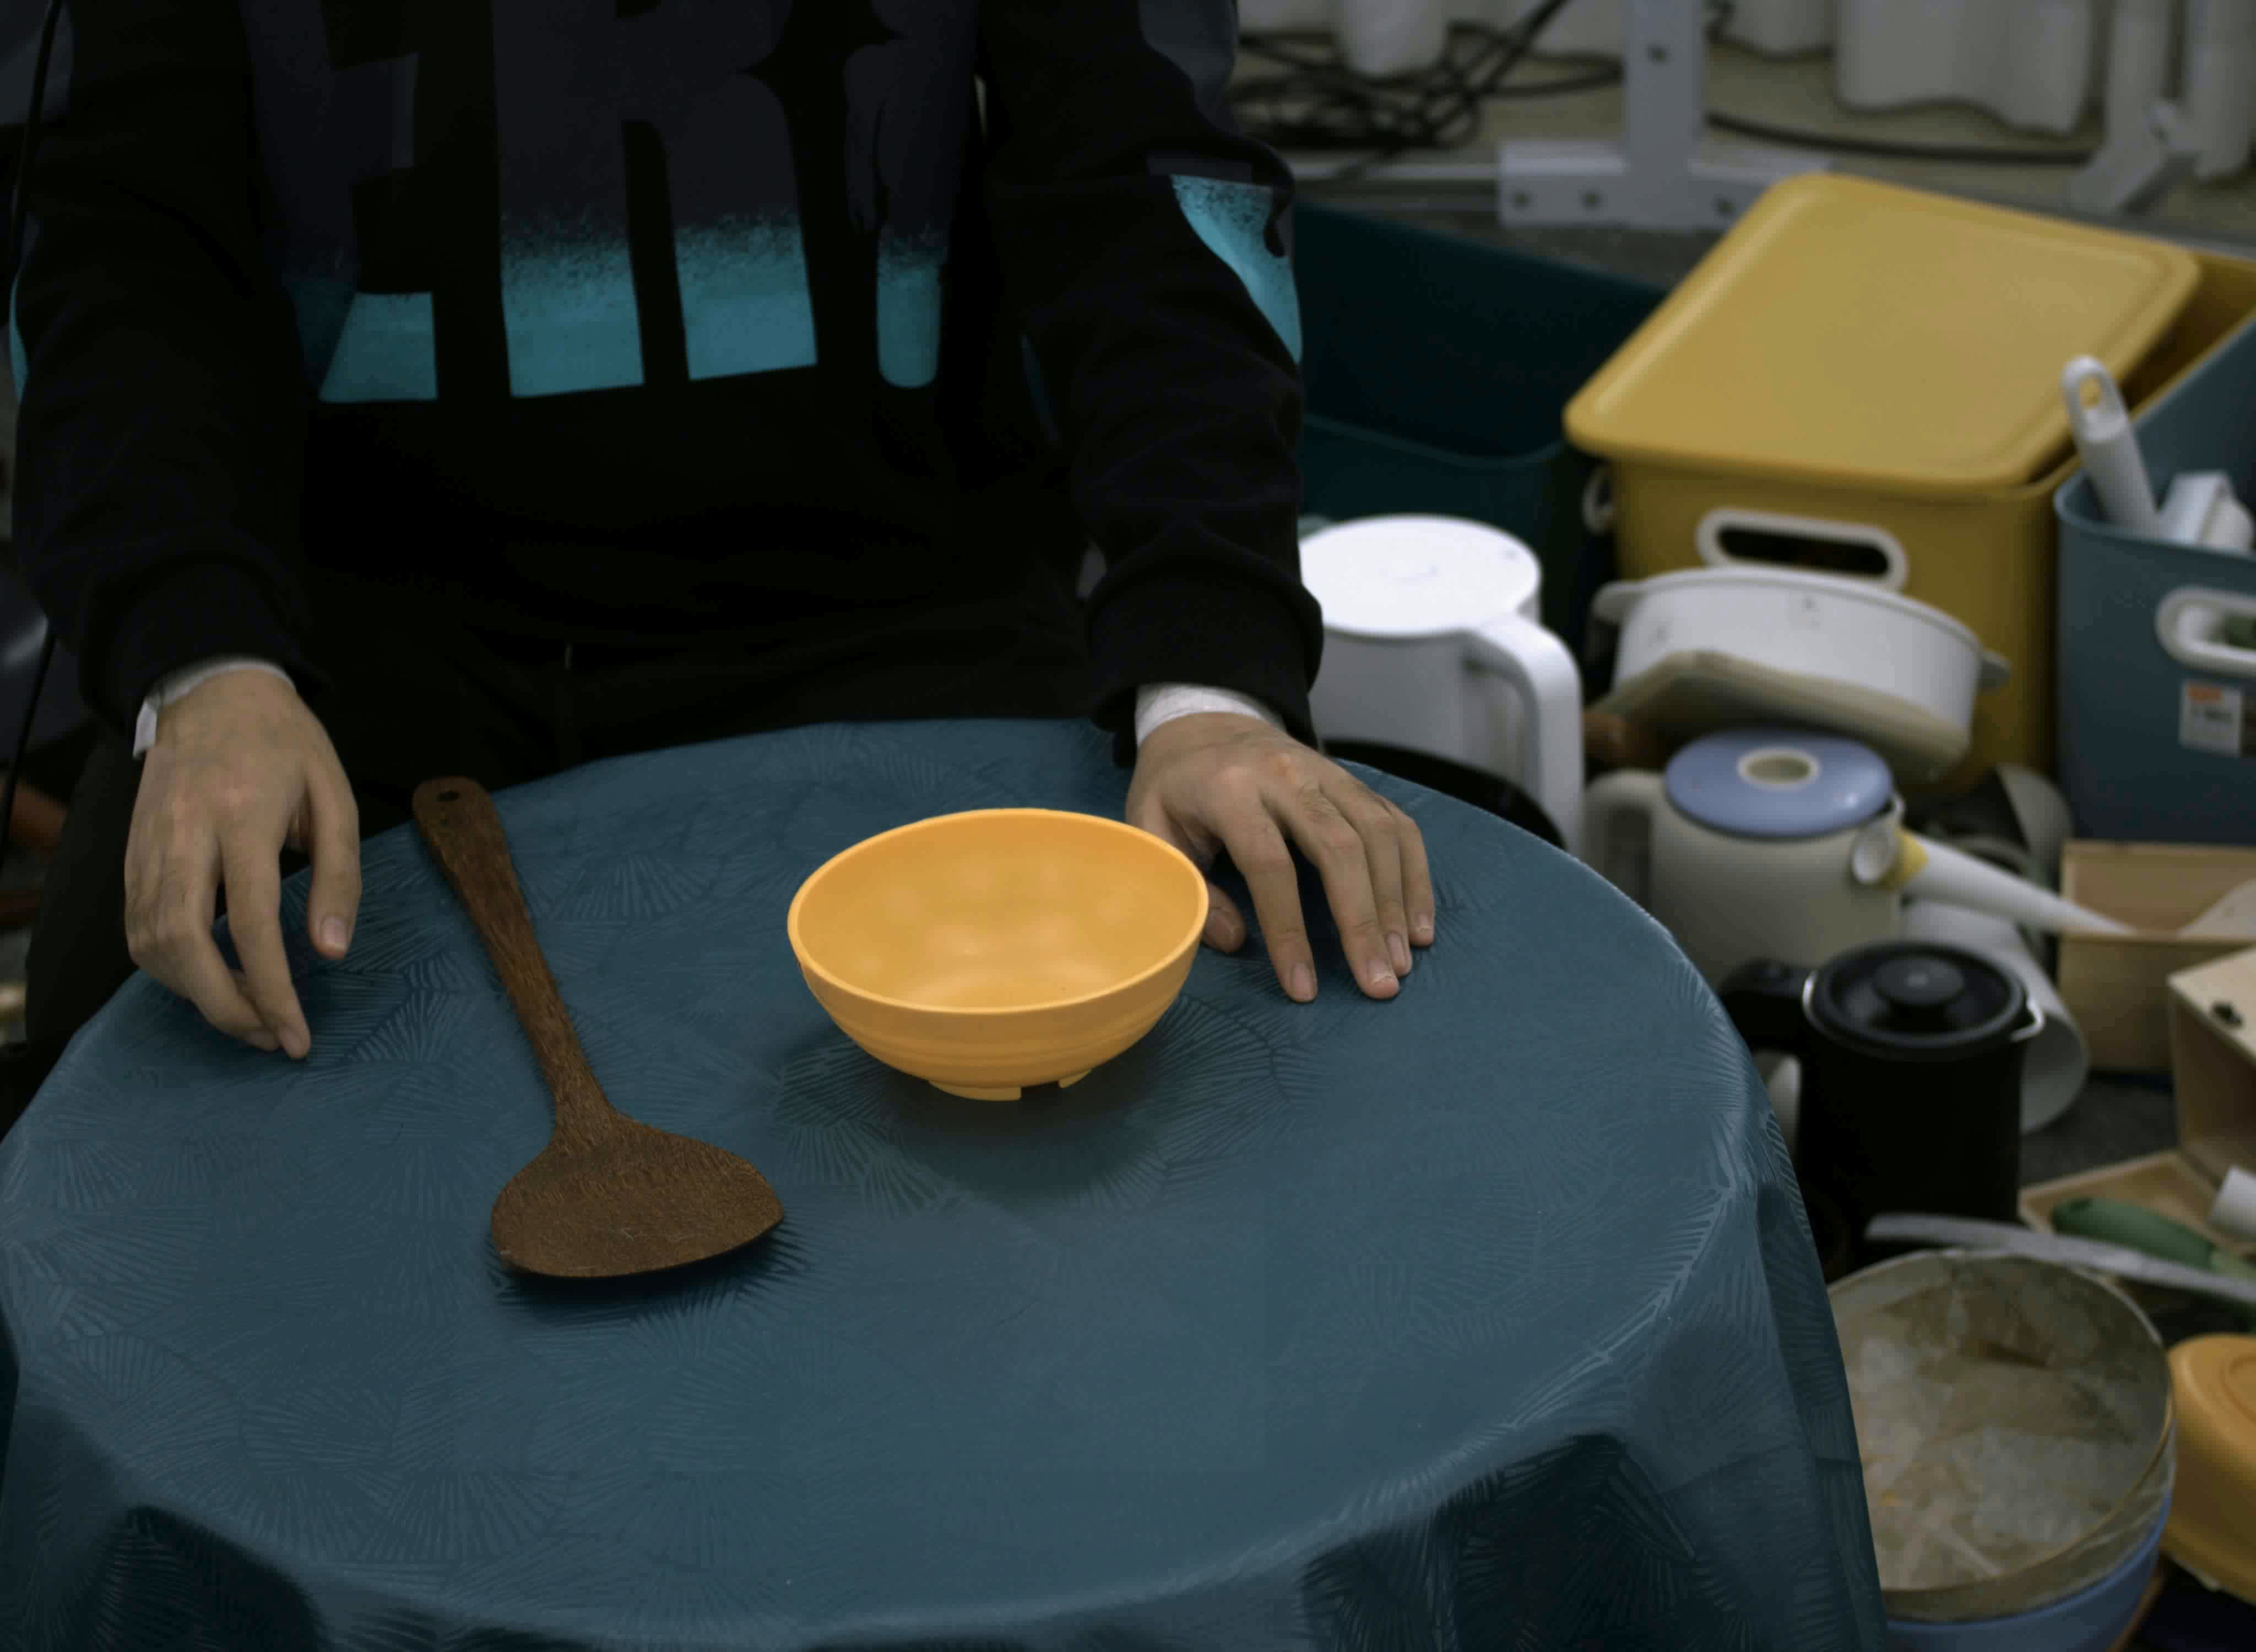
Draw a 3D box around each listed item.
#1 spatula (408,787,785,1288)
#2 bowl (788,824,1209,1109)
[{"bbox_3d":[-0.207,0.066,1.976,0.096,0.015,0.389,-10,28,-14],"label":"spatula"},{"bbox_3d":[-0.044,0.056,1.933,0.144,0.059,0.147,-1,25,1],"label":"bowl"}]
